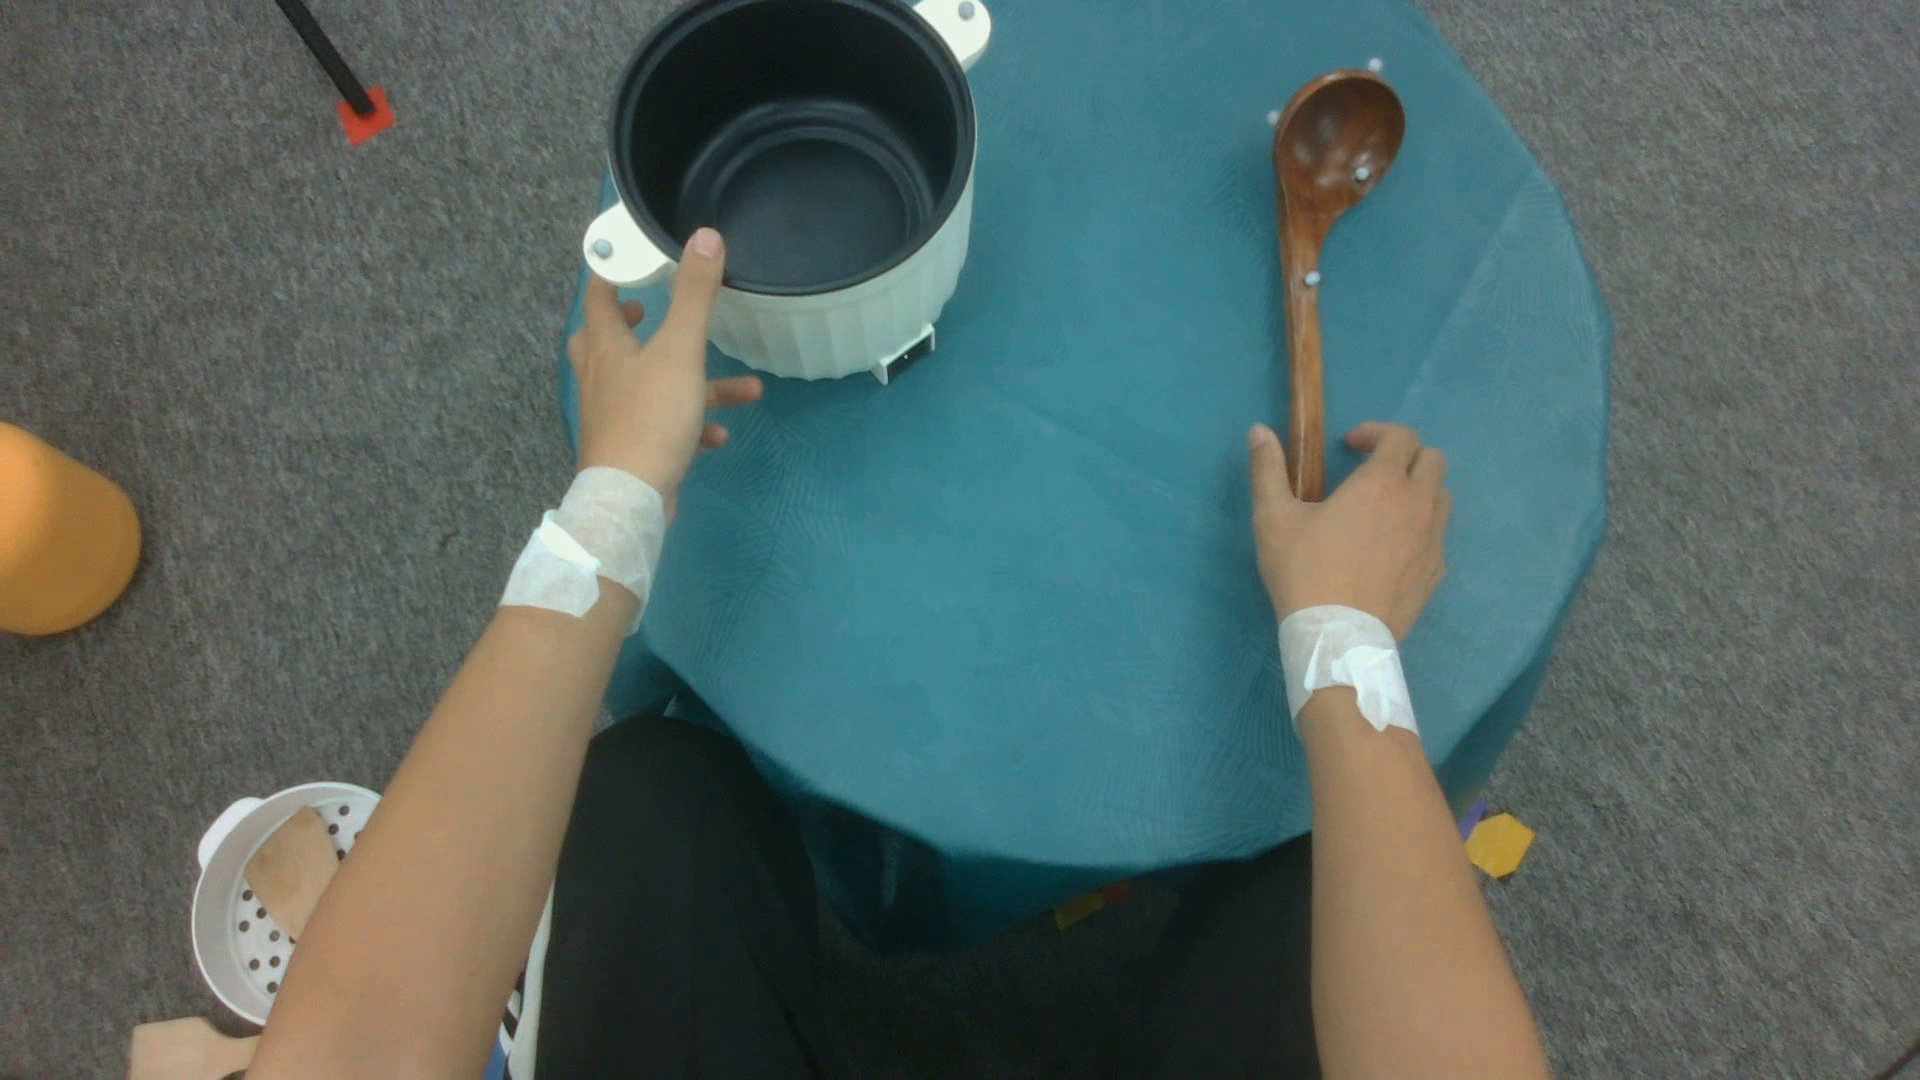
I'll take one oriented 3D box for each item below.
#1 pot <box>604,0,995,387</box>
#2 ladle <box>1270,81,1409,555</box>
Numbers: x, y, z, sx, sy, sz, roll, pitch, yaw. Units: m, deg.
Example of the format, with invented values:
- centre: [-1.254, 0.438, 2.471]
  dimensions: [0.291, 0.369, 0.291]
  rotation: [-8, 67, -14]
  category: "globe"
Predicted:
- centre: [-0.084, -0.184, 0.759]
  dimensions: [0.241, 0.142, 0.190]
  rotation: [-38, 80, -13]
  category: "pot"
- centre: [0.212, -0.129, 0.776]
  dimensions: [0.082, 0.076, 0.275]
  rotation: [13, 69, -22]
  category: "ladle"
